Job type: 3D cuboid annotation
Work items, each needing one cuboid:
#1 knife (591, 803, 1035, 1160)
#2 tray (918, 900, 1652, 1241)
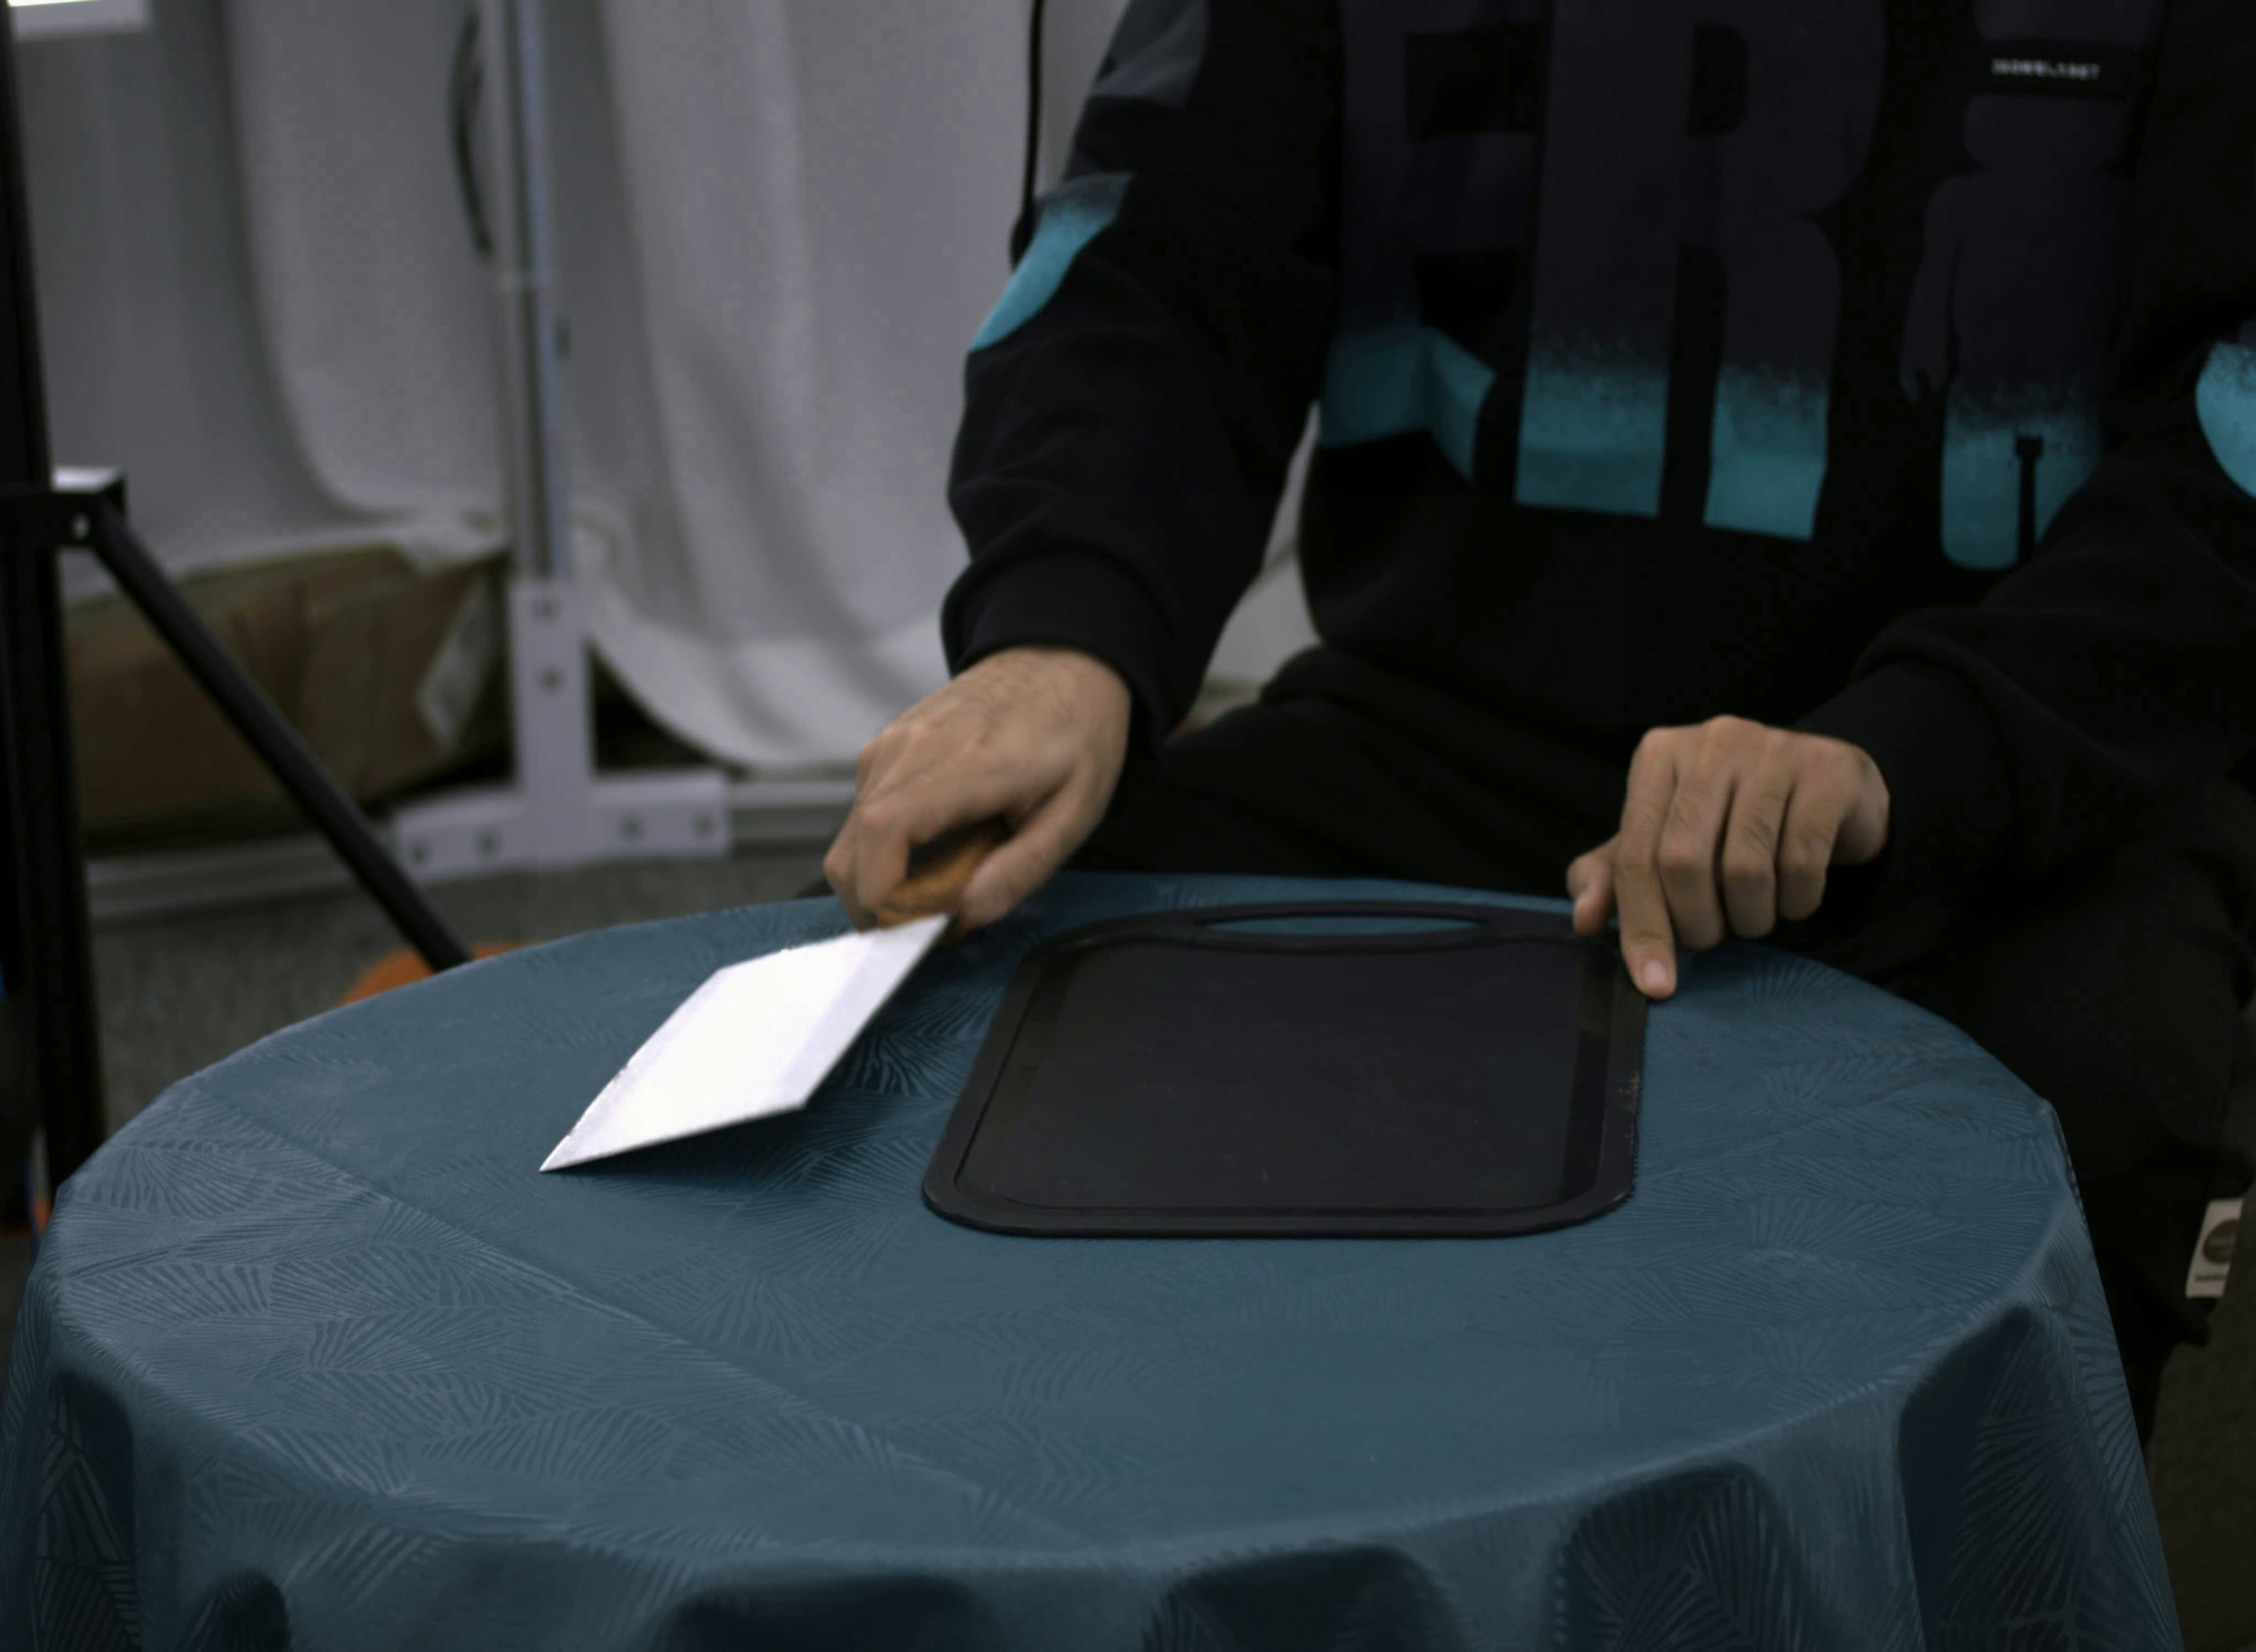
[{"bbox_3d":[-0.101,0.051,1.727,0.093,0.021,0.304,-13,13,17],"label":"knife"},{"bbox_3d":[0.056,0.071,1.667,0.212,0.010,0.324,0,16,9],"label":"tray"}]
